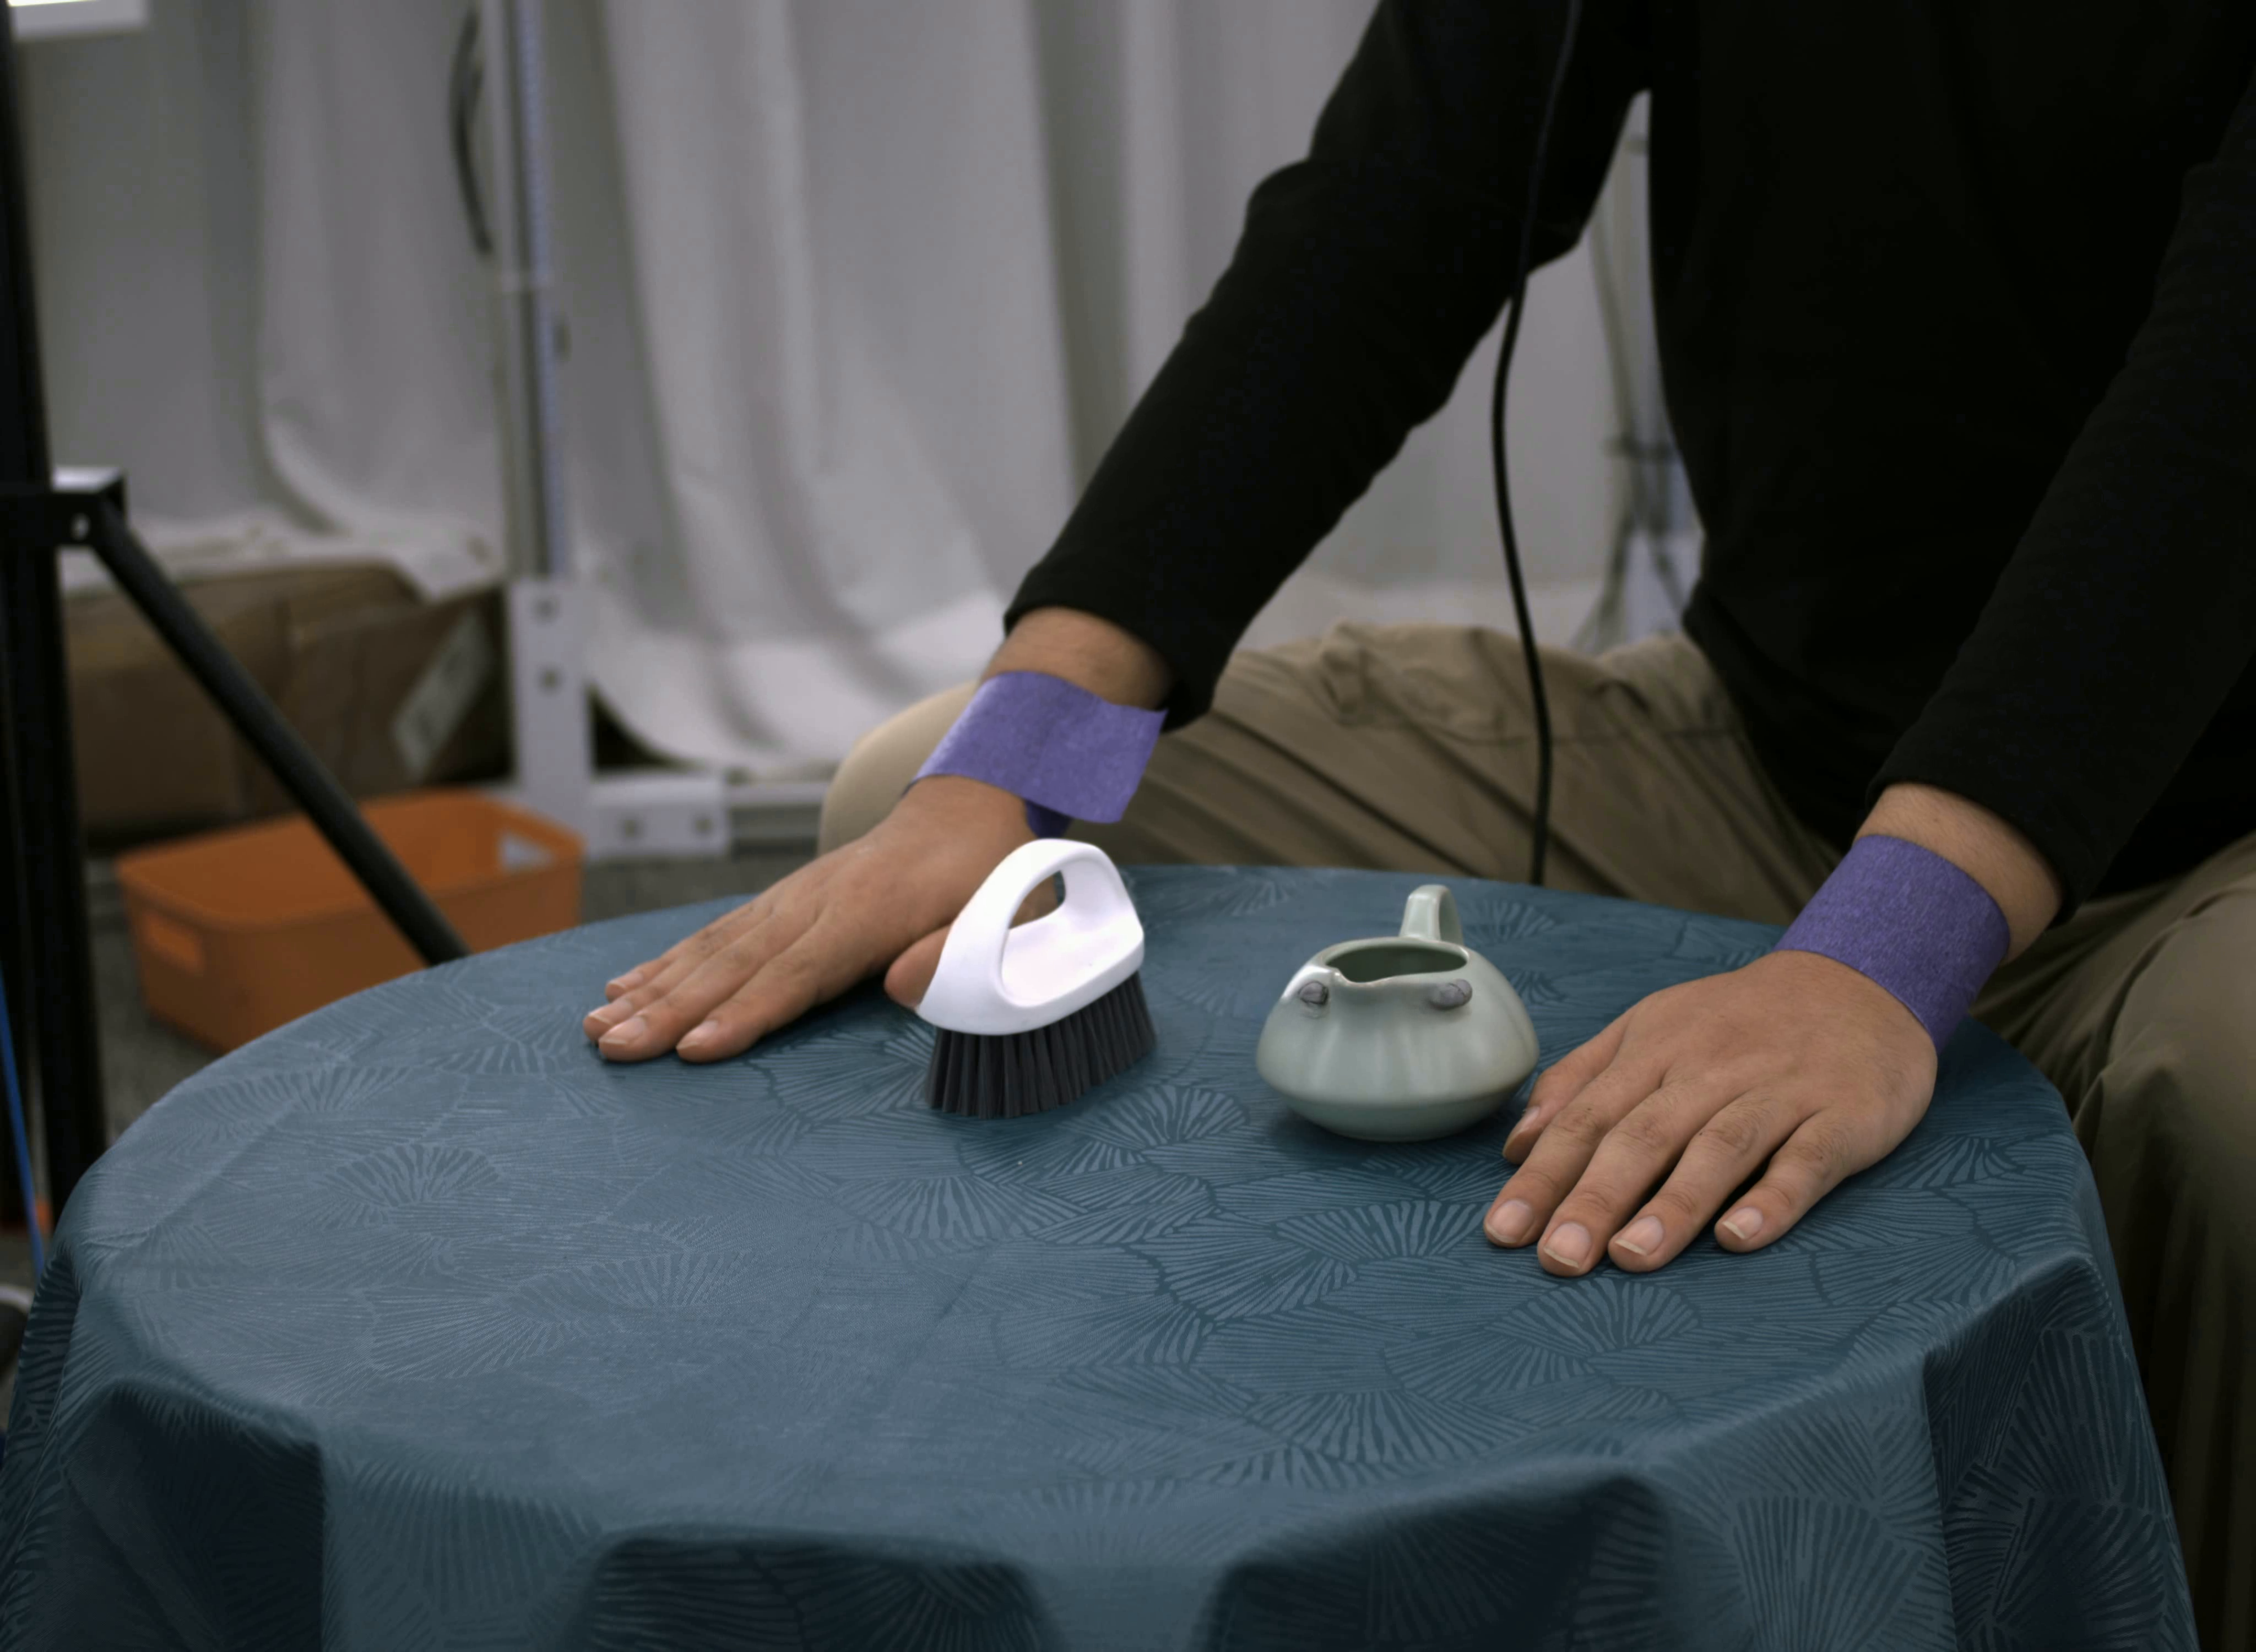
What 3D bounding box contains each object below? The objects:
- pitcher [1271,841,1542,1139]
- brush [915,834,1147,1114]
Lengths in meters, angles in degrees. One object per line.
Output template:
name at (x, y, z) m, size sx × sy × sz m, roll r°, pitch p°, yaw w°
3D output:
pitcher at (0.088, 0.052, 1.625) m, size 0.087 × 0.060 × 0.107 m, roll -5°, pitch 29°, yaw 35°
brush at (-0.030, 0.041, 1.665) m, size 0.051 × 0.072 × 0.097 m, roll 8°, pitch 20°, yaw 29°
